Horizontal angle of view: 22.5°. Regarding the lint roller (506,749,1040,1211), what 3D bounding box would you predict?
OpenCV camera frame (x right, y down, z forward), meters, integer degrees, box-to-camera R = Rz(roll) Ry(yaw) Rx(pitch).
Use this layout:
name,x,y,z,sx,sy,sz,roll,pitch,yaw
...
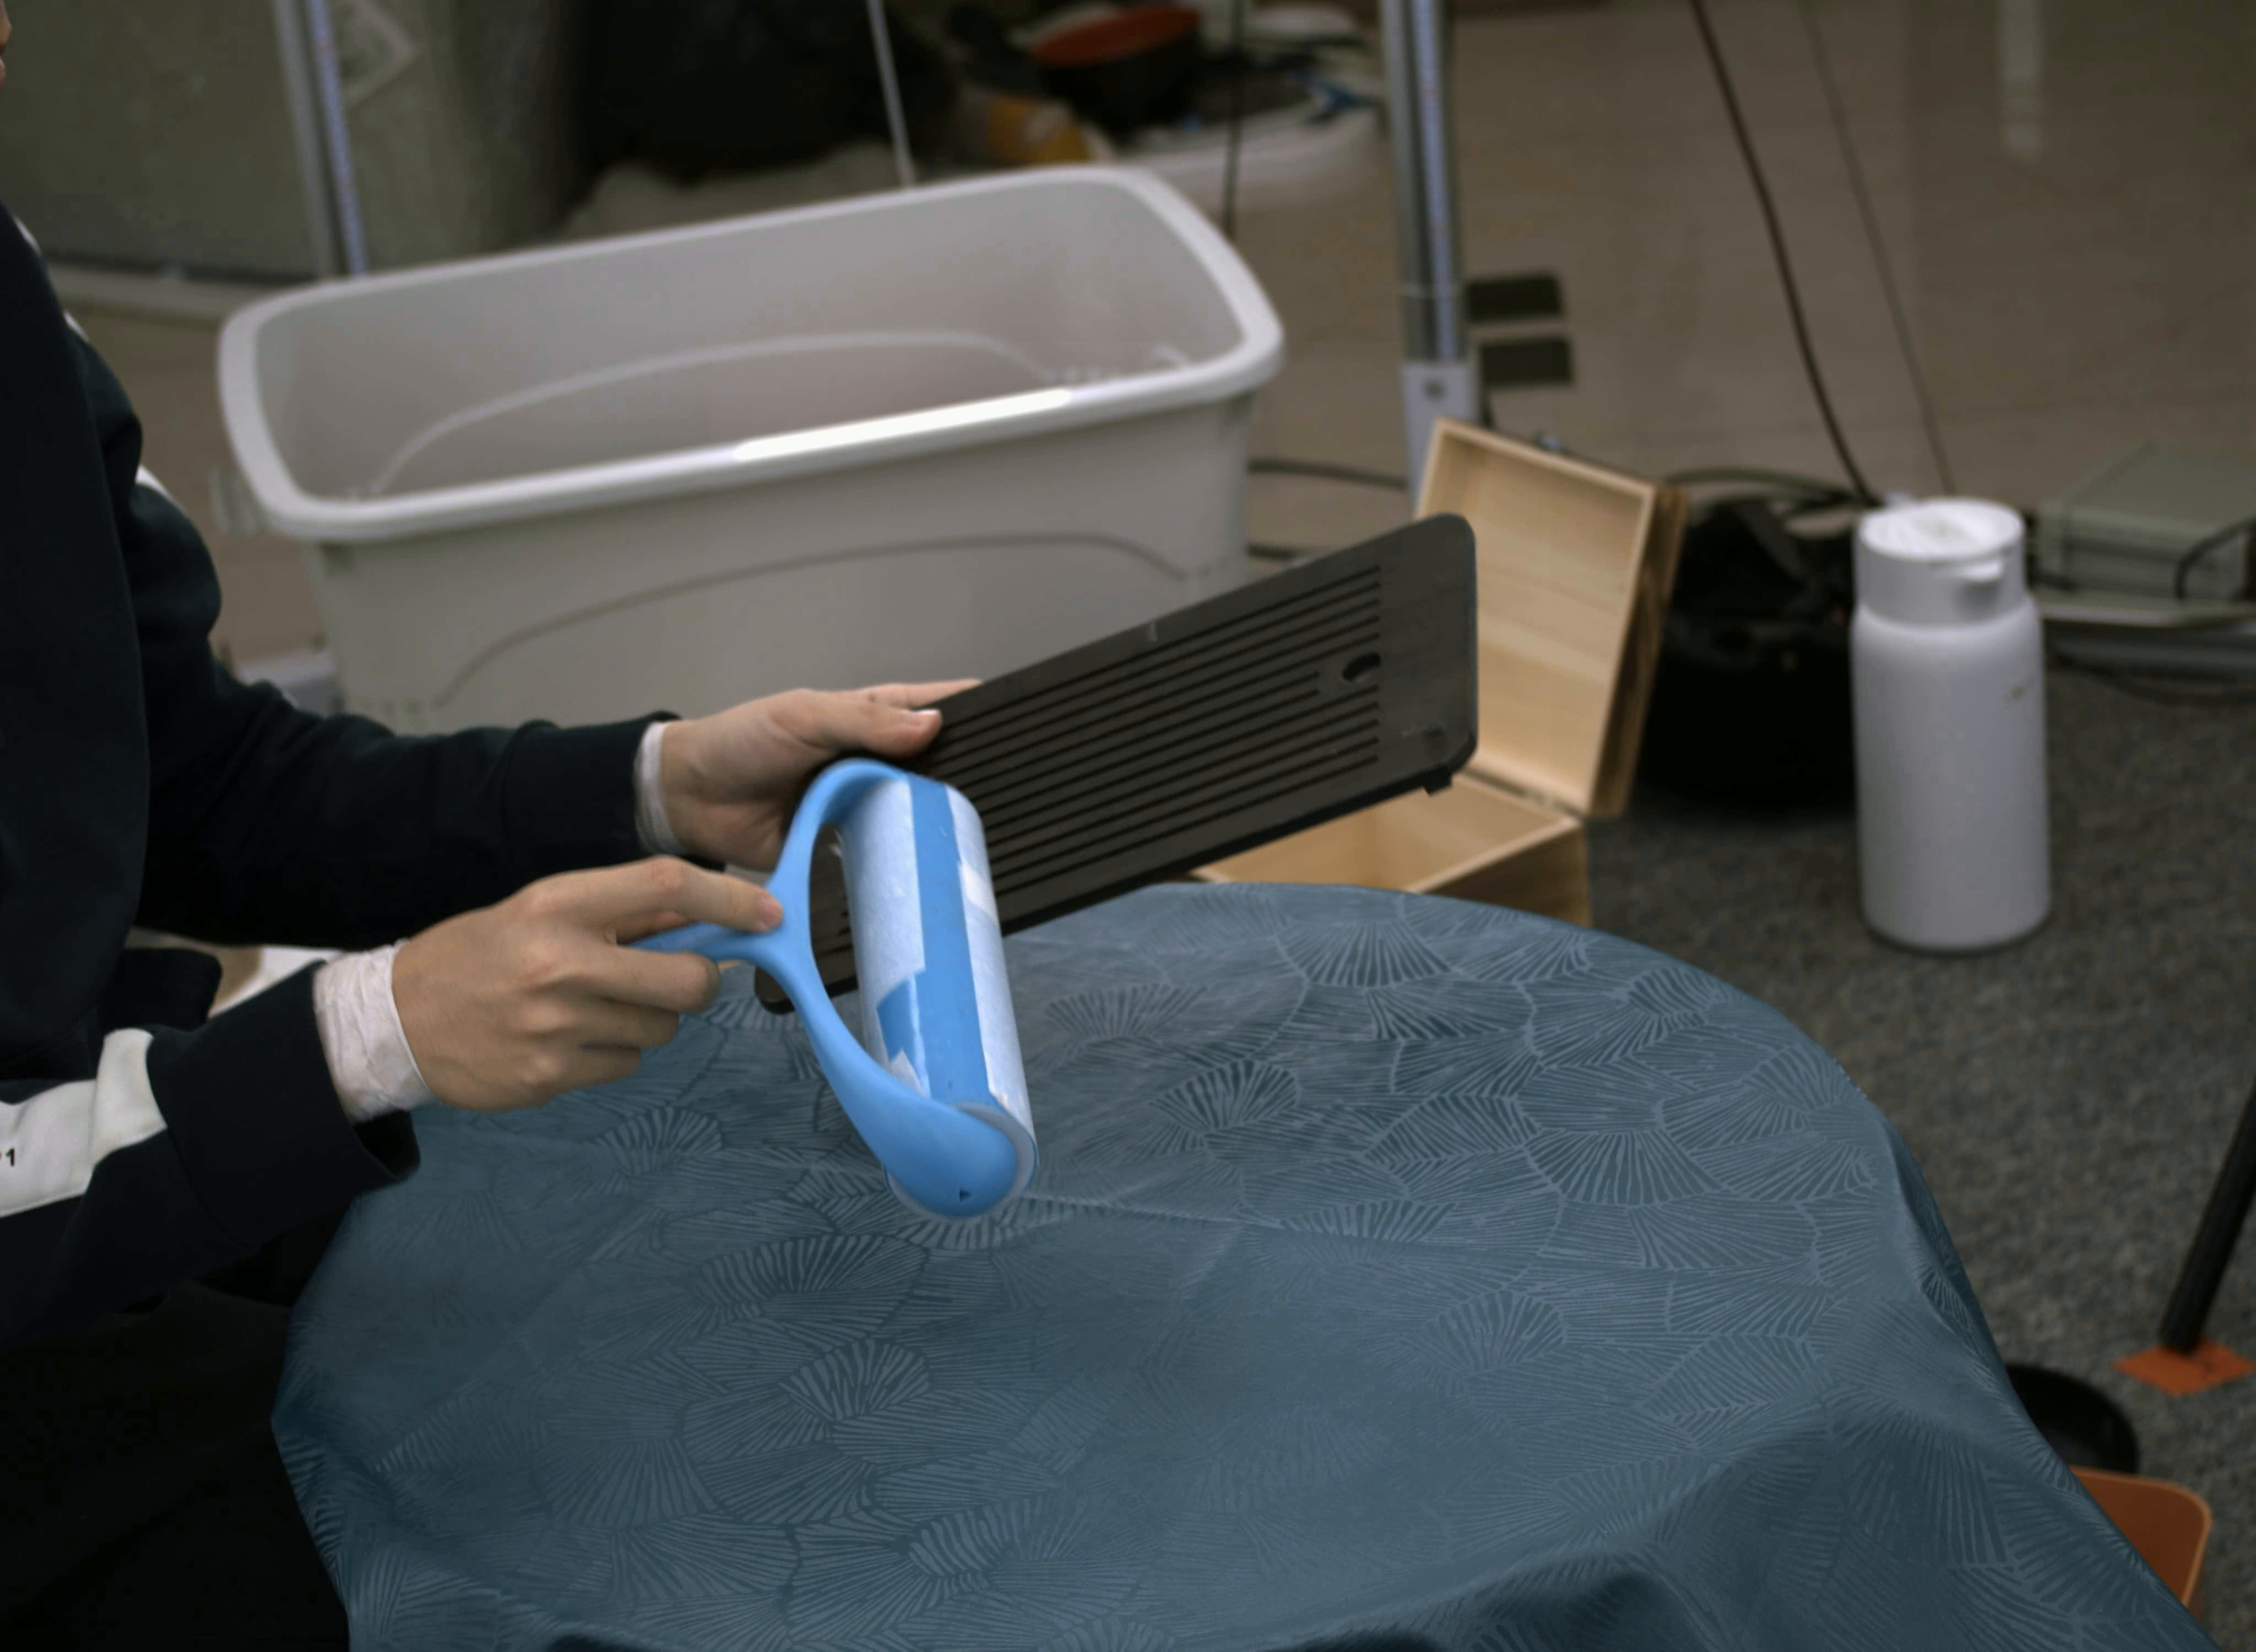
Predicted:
name,x,y,z,sx,sy,sz,roll,pitch,yaw
lint roller,-0.128,0.056,2.001,0.180,0.069,0.225,-2,39,-11

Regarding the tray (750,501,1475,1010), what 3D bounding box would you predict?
name,x,y,z,sx,sy,sz,roll,pitch,yaw
tray,-0.005,-0.026,2.209,0.306,0.019,0.167,-21,34,18
